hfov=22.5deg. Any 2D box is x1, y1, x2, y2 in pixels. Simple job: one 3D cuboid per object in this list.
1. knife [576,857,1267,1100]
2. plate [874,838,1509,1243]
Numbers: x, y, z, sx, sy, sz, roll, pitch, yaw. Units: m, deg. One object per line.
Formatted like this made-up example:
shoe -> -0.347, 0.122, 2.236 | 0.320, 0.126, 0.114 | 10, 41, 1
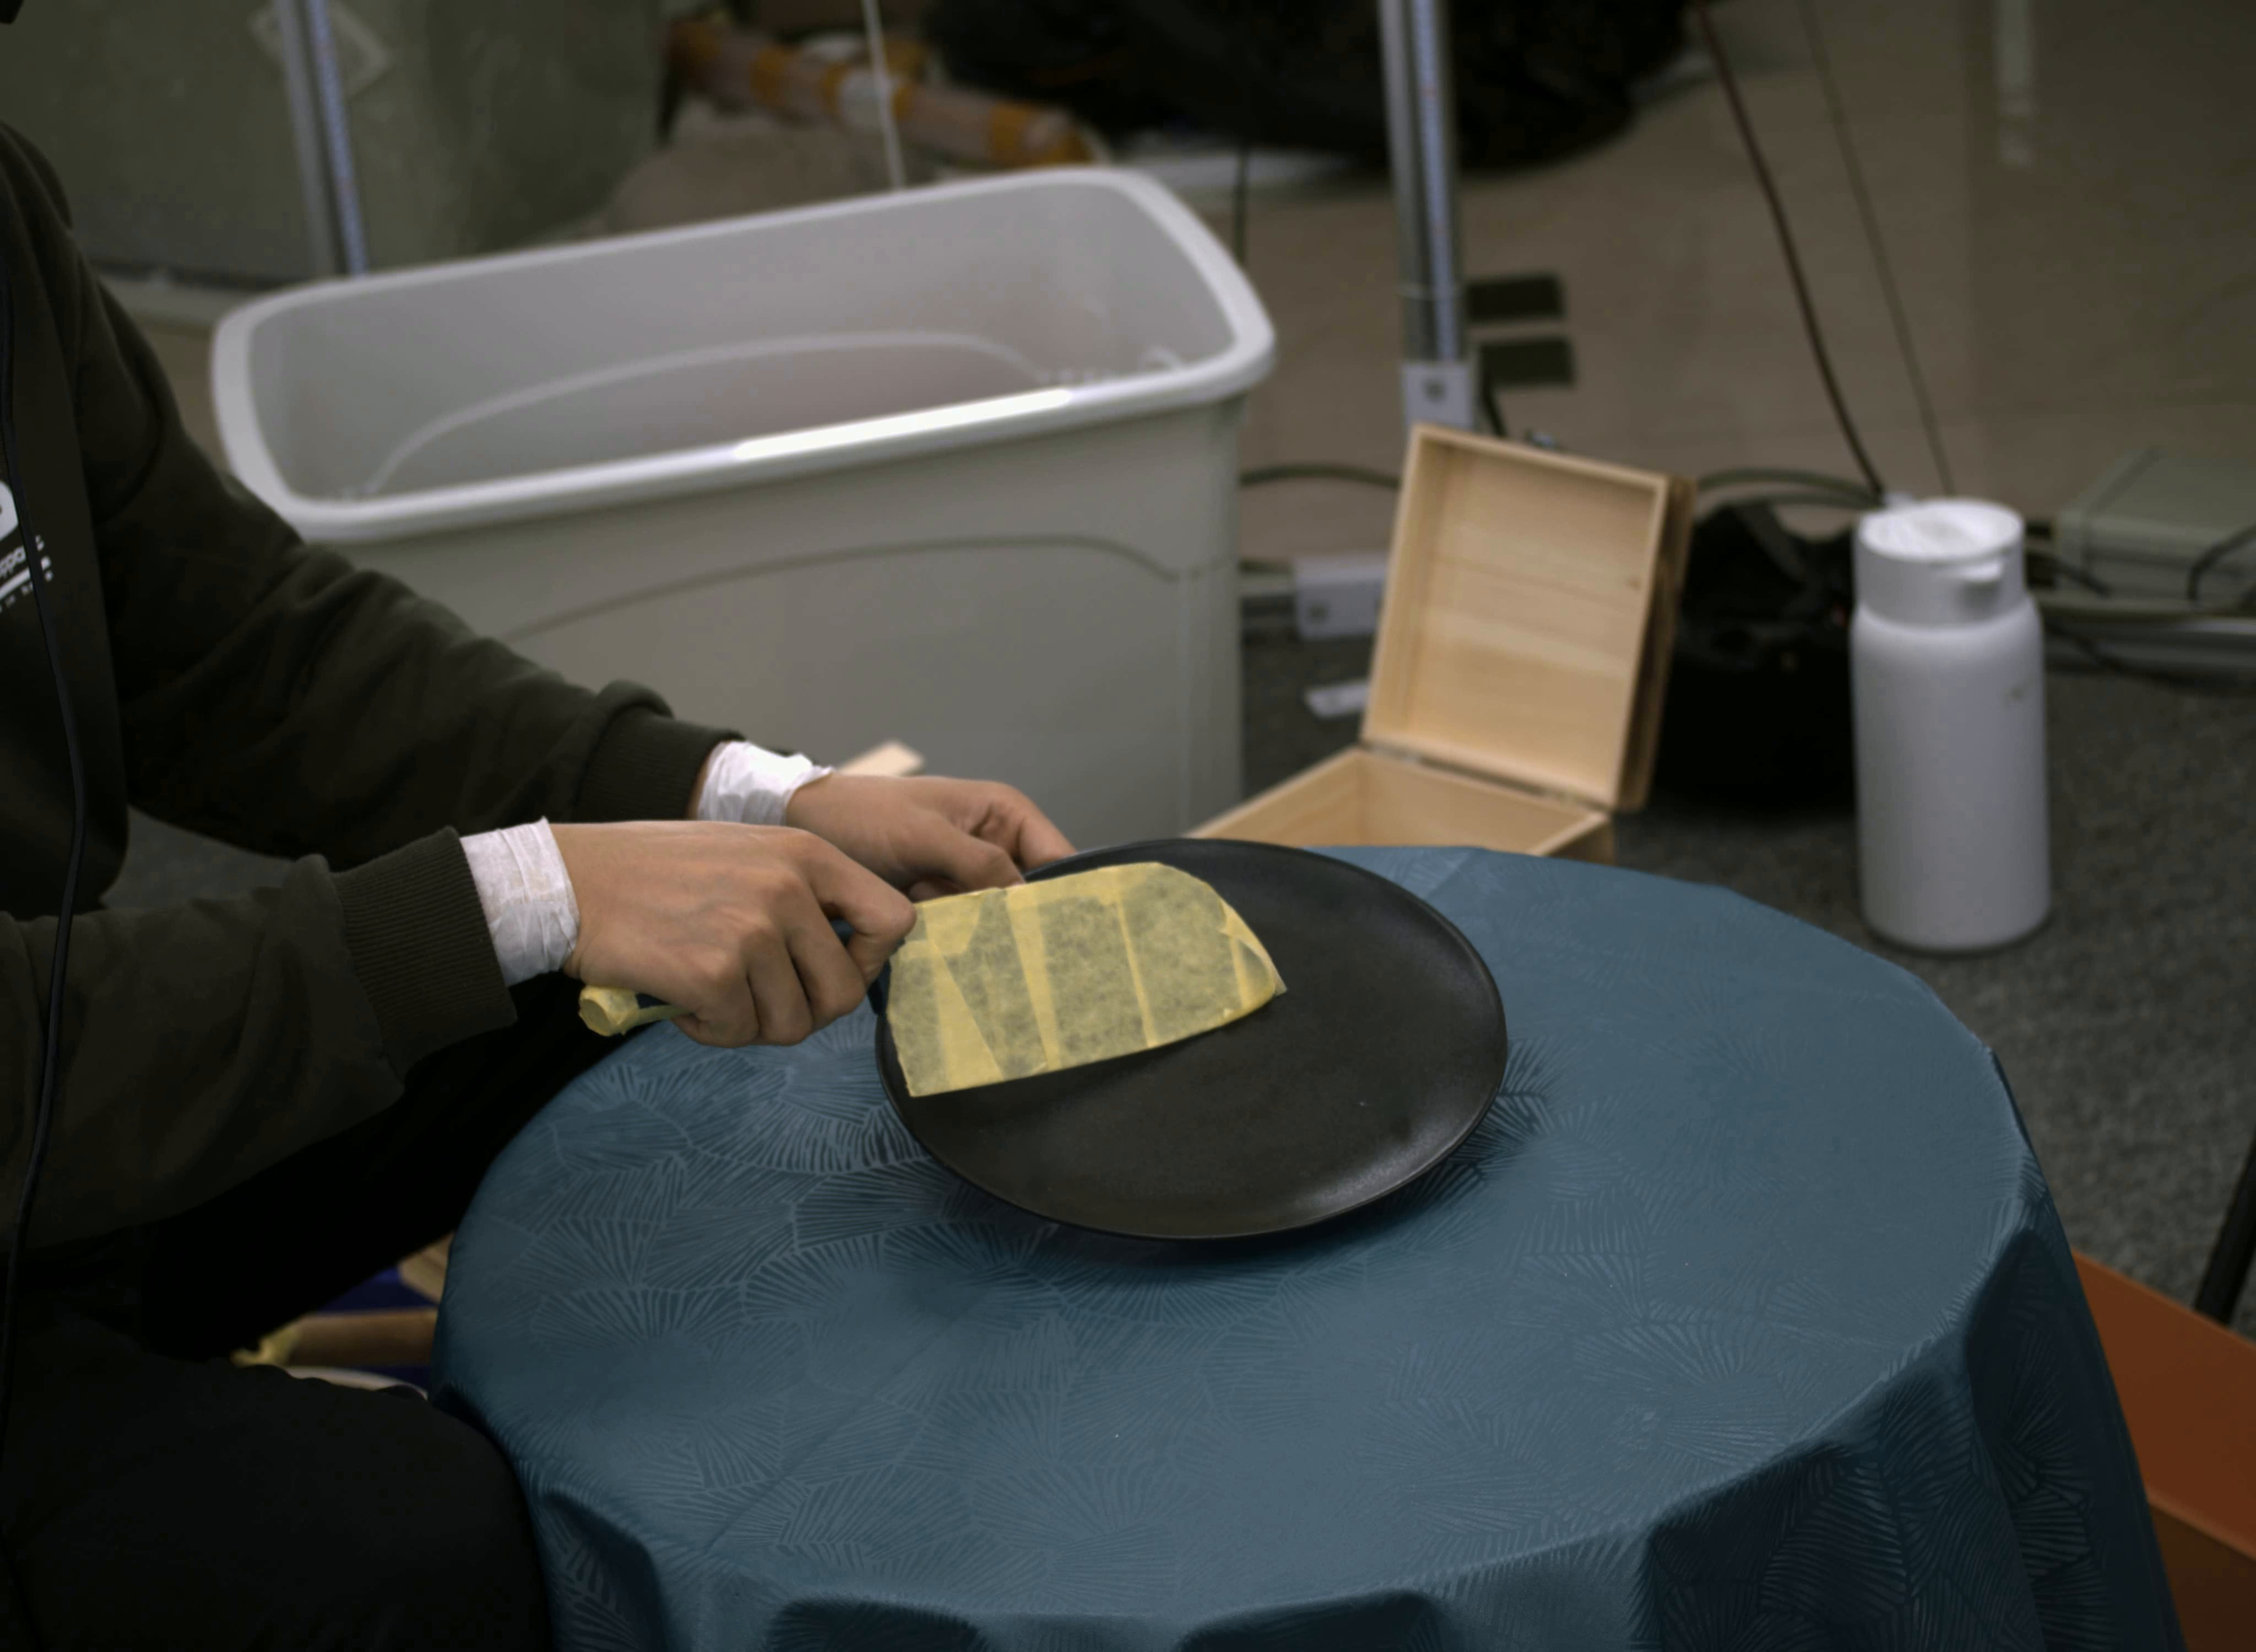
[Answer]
knife -> -0.072, 0.062, 2.143 | 0.288, 0.081, 0.027 | -8, -9, -27
plate -> 0.025, 0.086, 2.181 | 0.244, 0.024, 0.240 | 0, 38, 0
